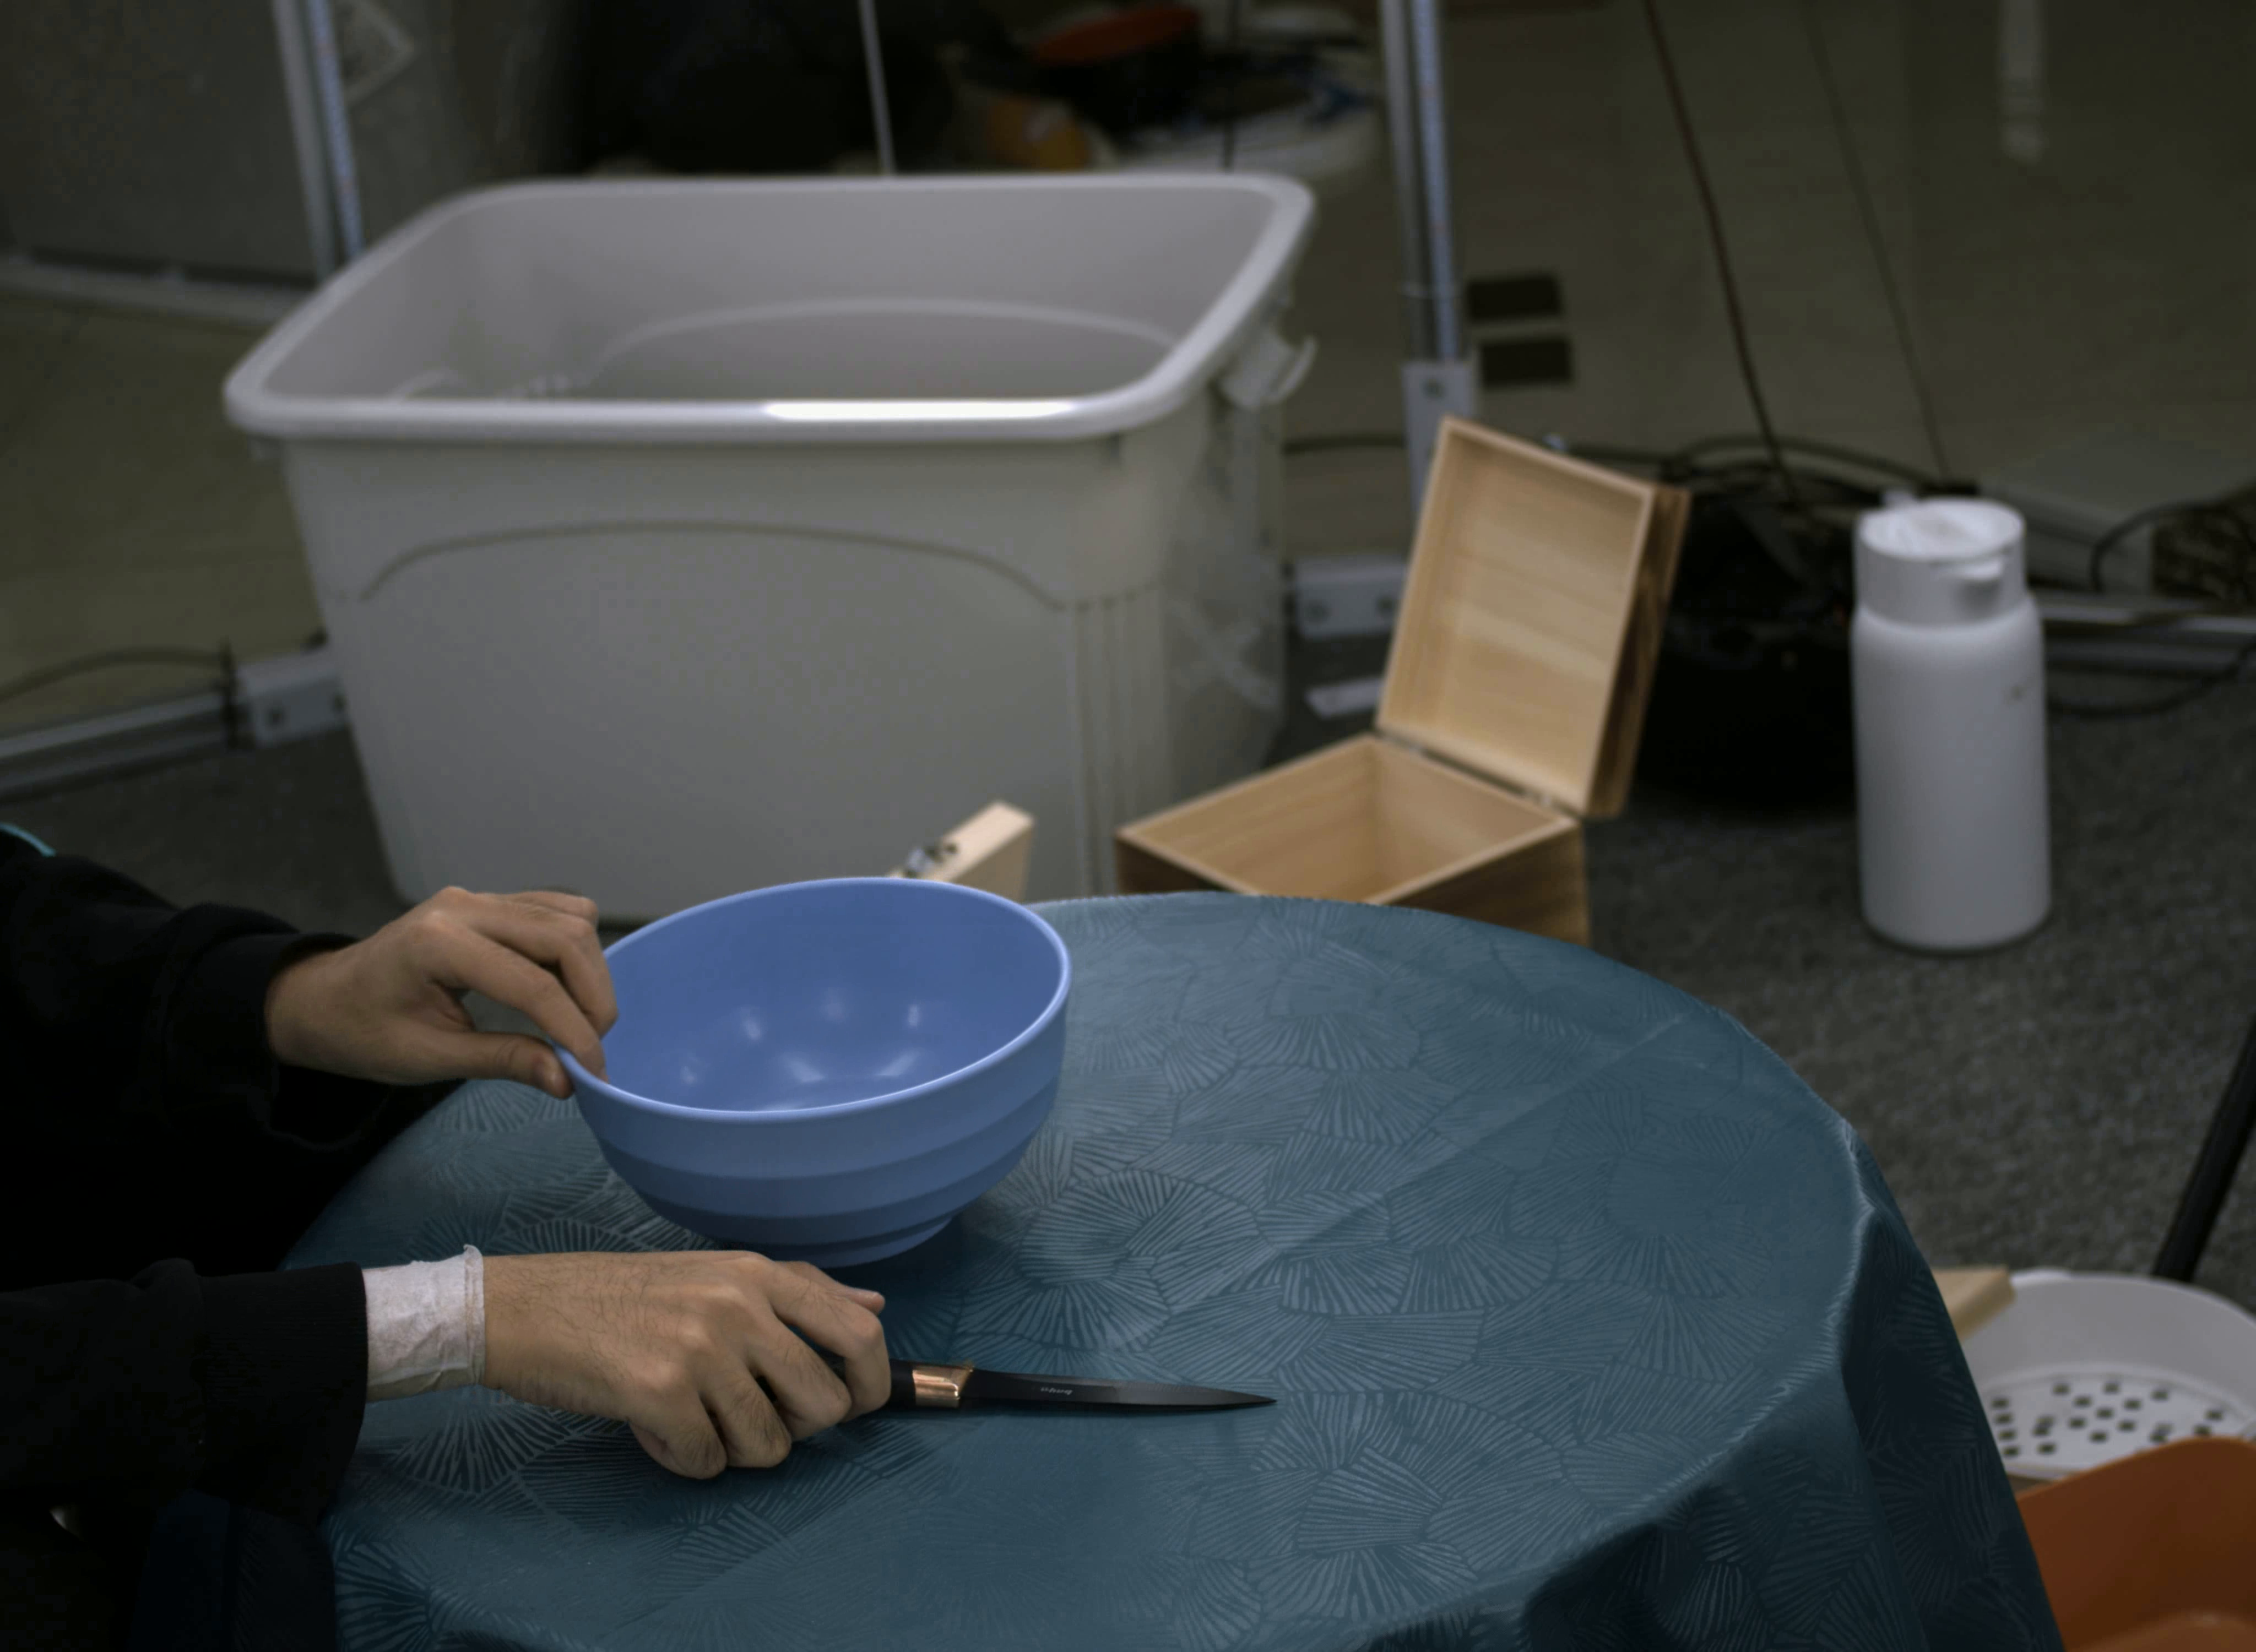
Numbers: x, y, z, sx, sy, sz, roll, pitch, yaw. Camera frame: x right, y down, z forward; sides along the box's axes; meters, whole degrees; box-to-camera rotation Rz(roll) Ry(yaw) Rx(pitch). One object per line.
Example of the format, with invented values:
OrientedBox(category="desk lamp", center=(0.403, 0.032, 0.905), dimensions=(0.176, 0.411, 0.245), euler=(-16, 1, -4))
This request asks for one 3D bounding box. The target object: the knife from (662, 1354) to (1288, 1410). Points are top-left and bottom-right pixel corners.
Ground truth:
OrientedBox(category="knife", center=(-0.055, 0.198, 2.021), dimensions=(0.225, 0.017, 0.026), euler=(0, 20, 10))

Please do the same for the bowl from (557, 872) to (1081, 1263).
OrientedBox(category="bowl", center=(-0.113, 0.101, 2.135), dimensions=(0.196, 0.097, 0.193), euler=(-3, 25, 1))
